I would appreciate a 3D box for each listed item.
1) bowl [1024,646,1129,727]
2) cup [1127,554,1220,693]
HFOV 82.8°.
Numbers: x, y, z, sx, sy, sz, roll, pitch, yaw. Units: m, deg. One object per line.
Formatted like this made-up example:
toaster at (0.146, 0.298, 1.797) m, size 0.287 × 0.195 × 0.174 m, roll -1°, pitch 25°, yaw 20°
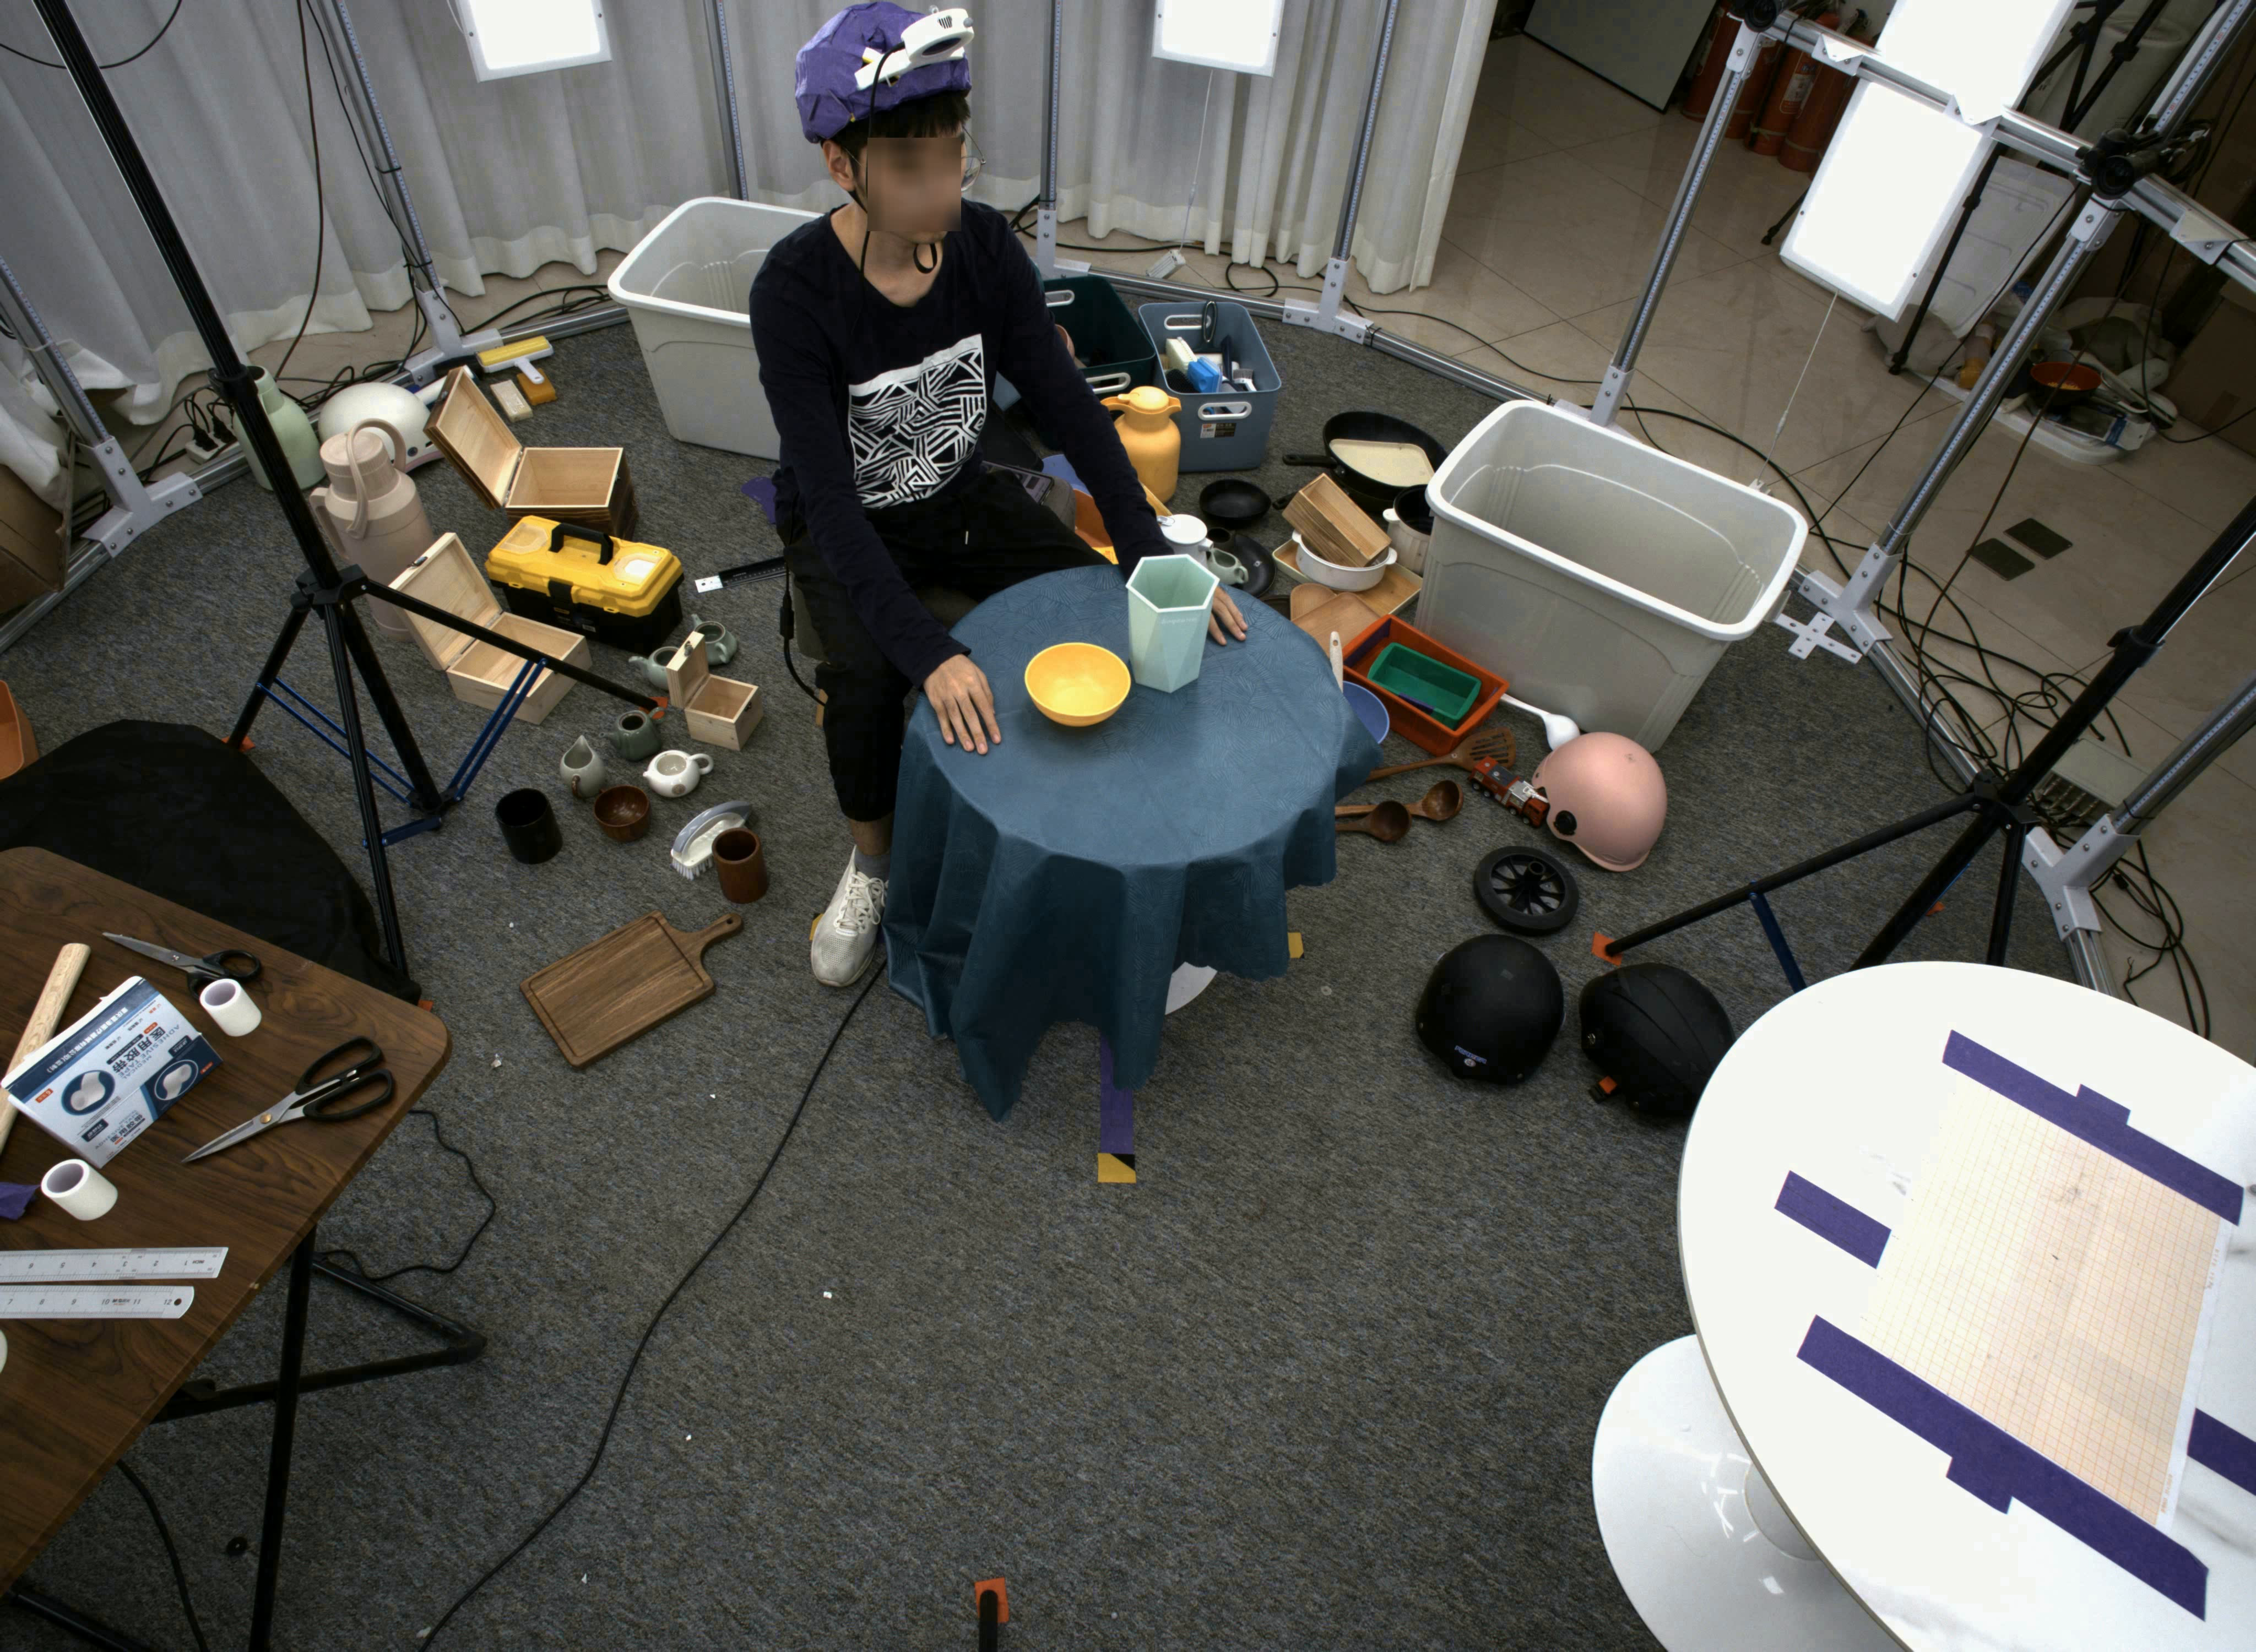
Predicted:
bowl at (-0.073, -0.182, 1.787) m, size 0.145 × 0.058 × 0.149 m, roll 2°, pitch 46°, yaw -2°
cup at (0.058, -0.282, 1.811) m, size 0.131 × 0.159 × 0.118 m, roll -6°, pitch 48°, yaw -10°
